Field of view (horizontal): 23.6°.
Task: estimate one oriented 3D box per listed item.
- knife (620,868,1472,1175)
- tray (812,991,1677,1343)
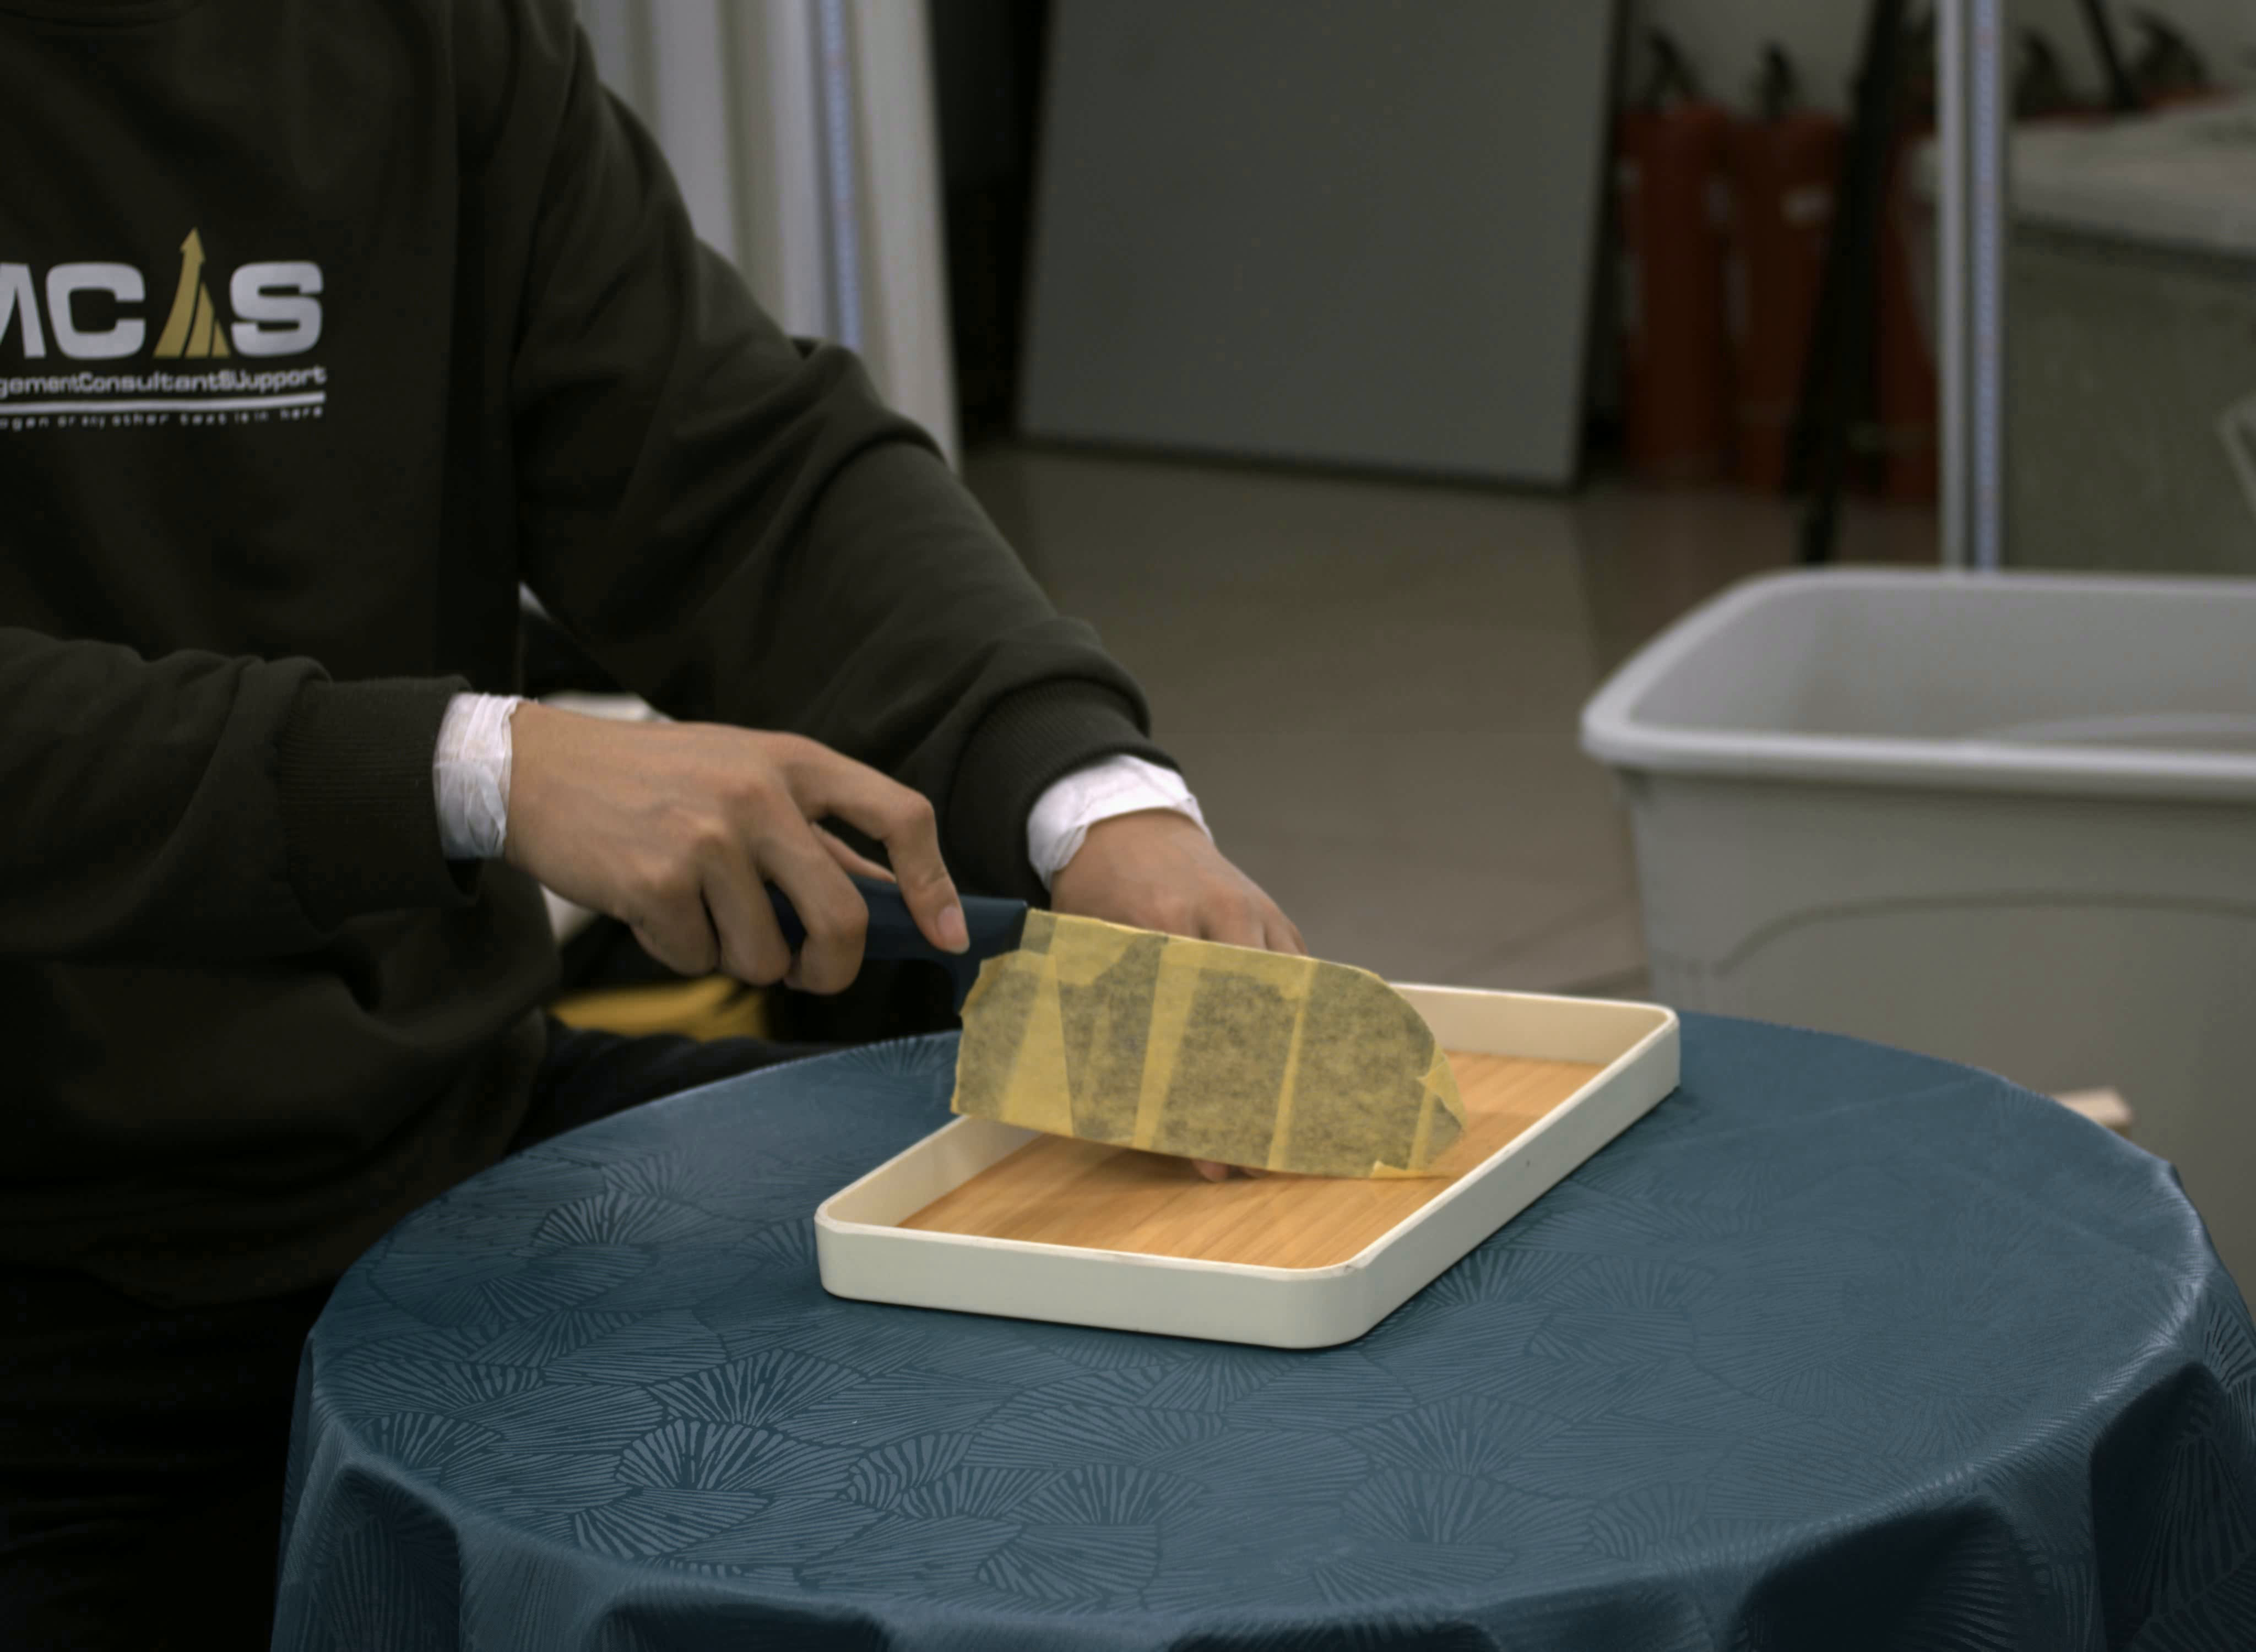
[{"bbox_3d":[-0.027,0.063,1.749,0.286,0.082,0.027,12,7,4],"label":"knife"},{"bbox_3d":[0.045,0.106,1.768,0.192,0.028,0.296,2,14,28],"label":"tray"}]
